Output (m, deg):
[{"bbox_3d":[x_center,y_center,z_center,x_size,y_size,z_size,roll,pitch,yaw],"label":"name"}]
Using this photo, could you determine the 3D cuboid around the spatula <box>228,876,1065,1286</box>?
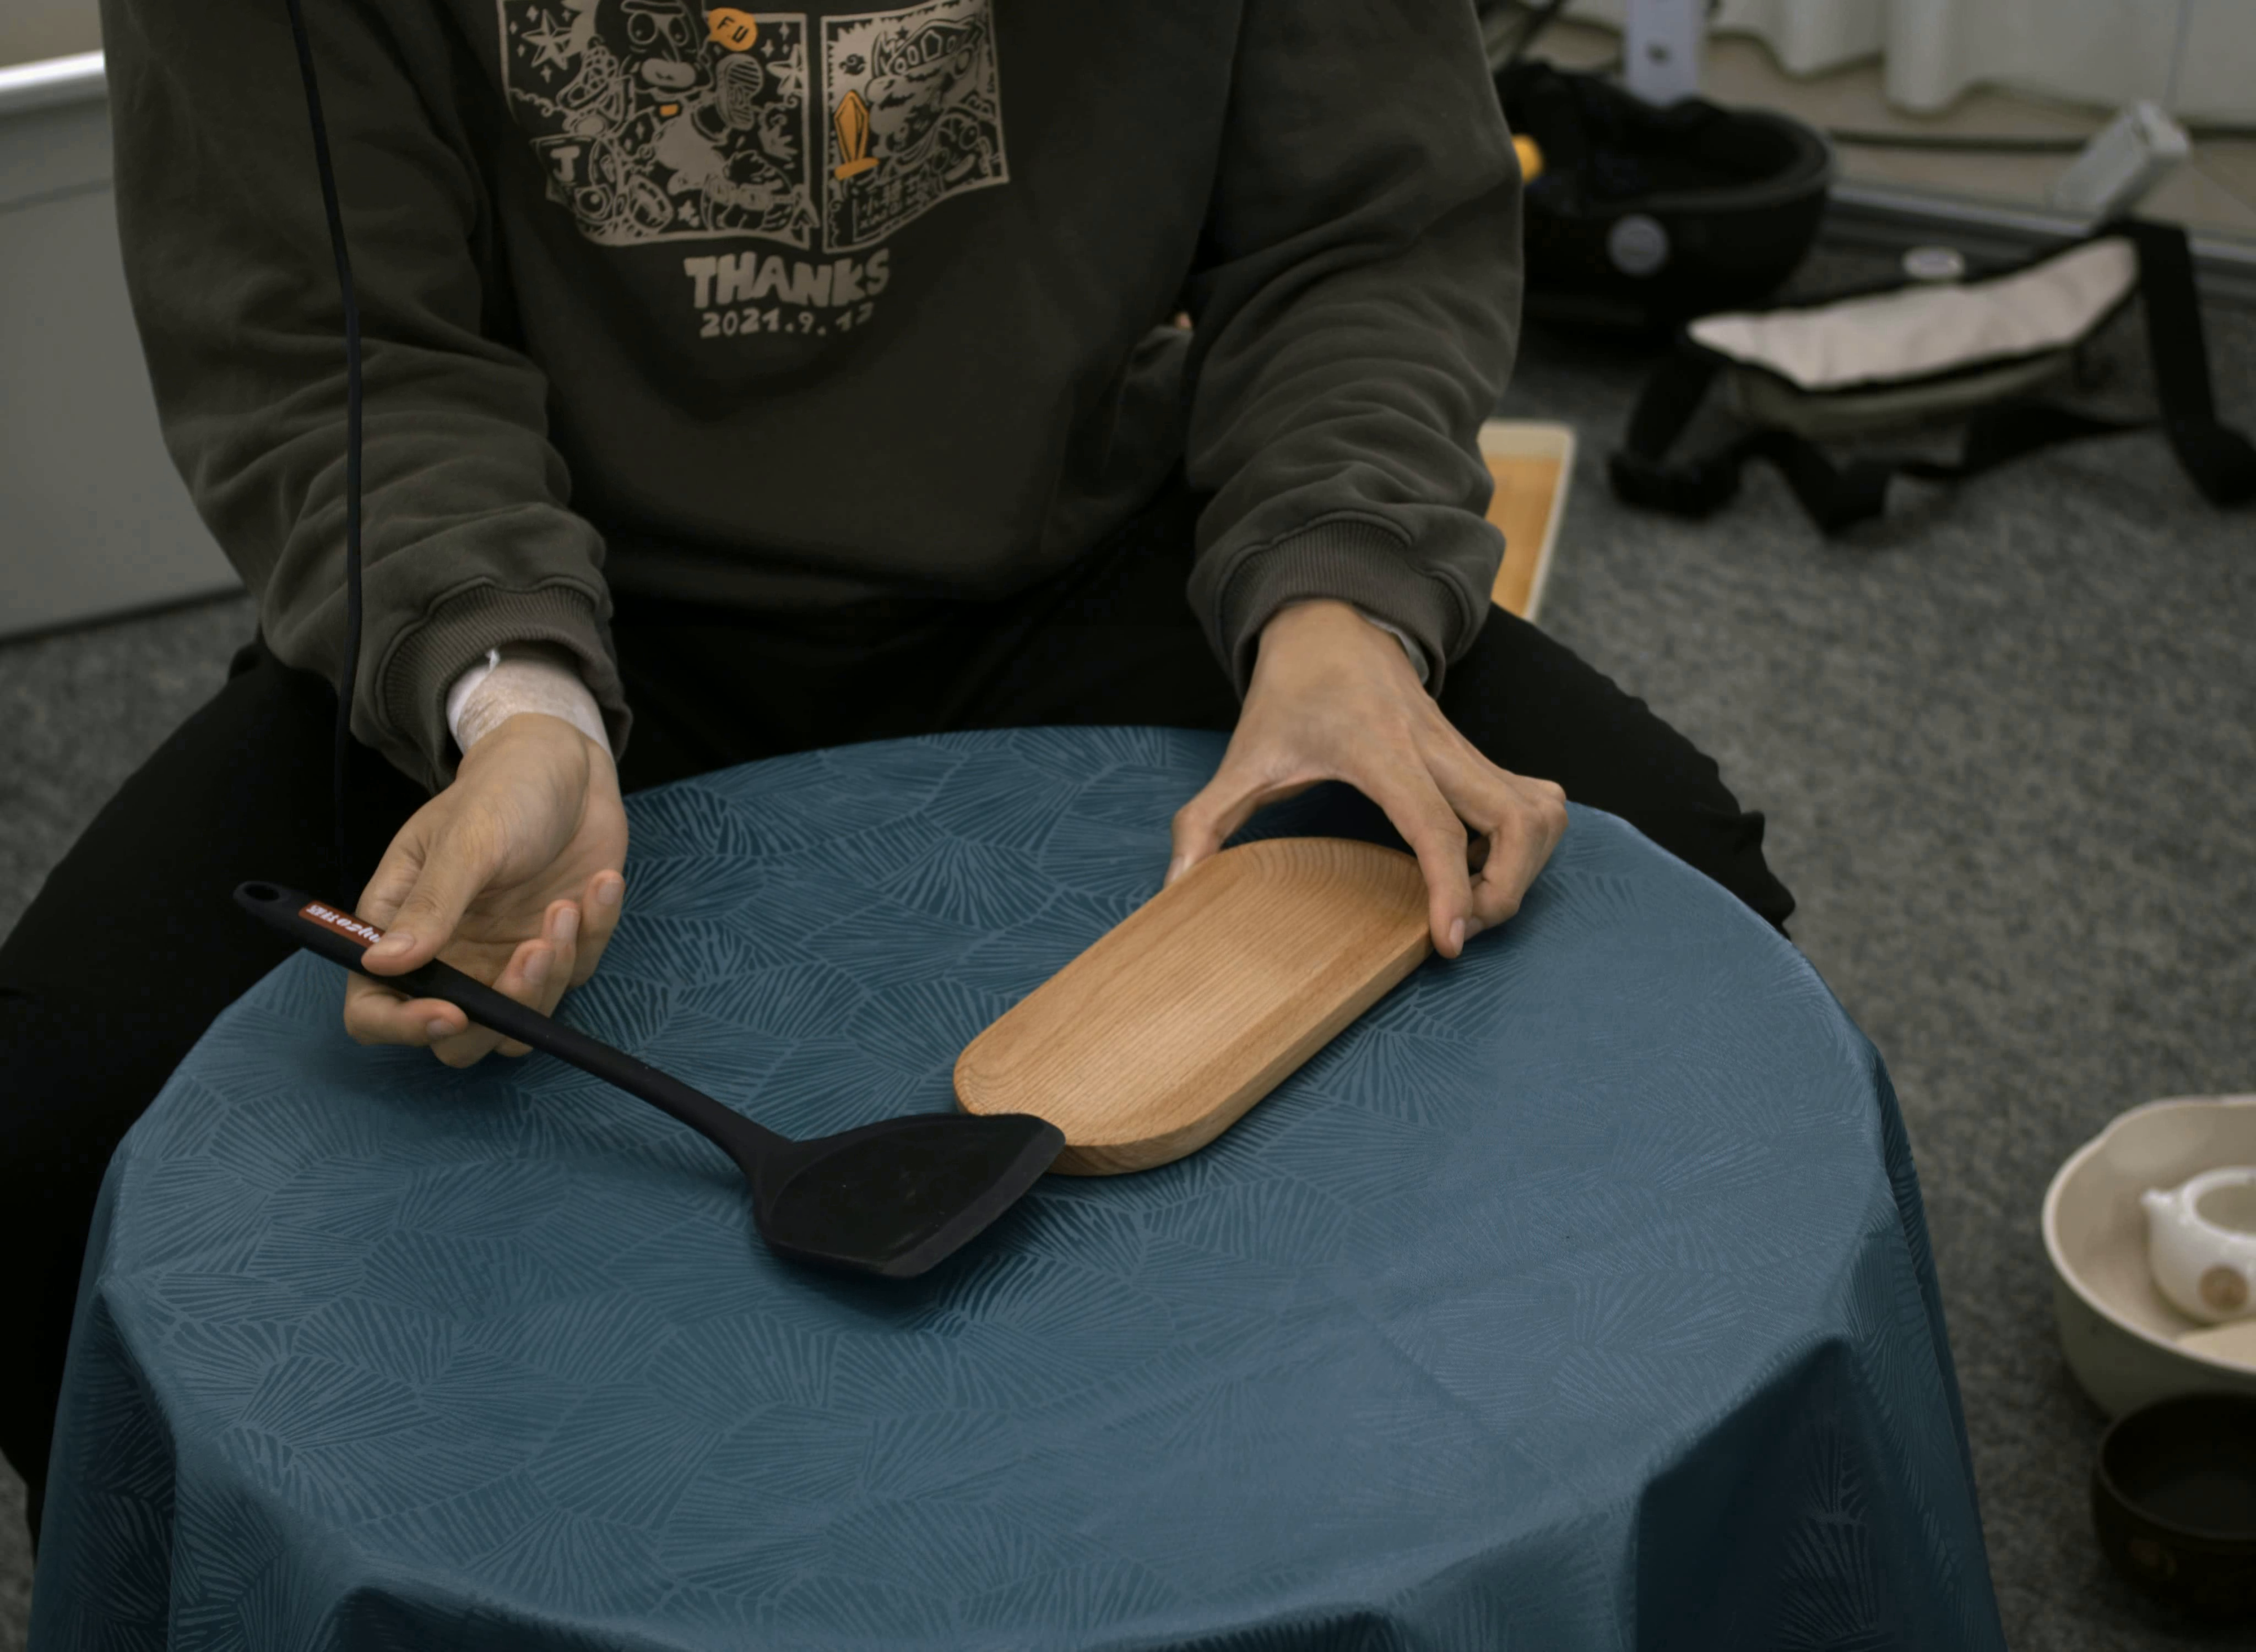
[{"bbox_3d":[-0.176,0.075,1.891,0.326,0.040,0.101,26,39,23],"label":"spatula"}]

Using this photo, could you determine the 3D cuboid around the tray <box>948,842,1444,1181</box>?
[{"bbox_3d":[0.026,0.063,1.953,0.101,0.020,0.235,14,33,31],"label":"tray"}]
